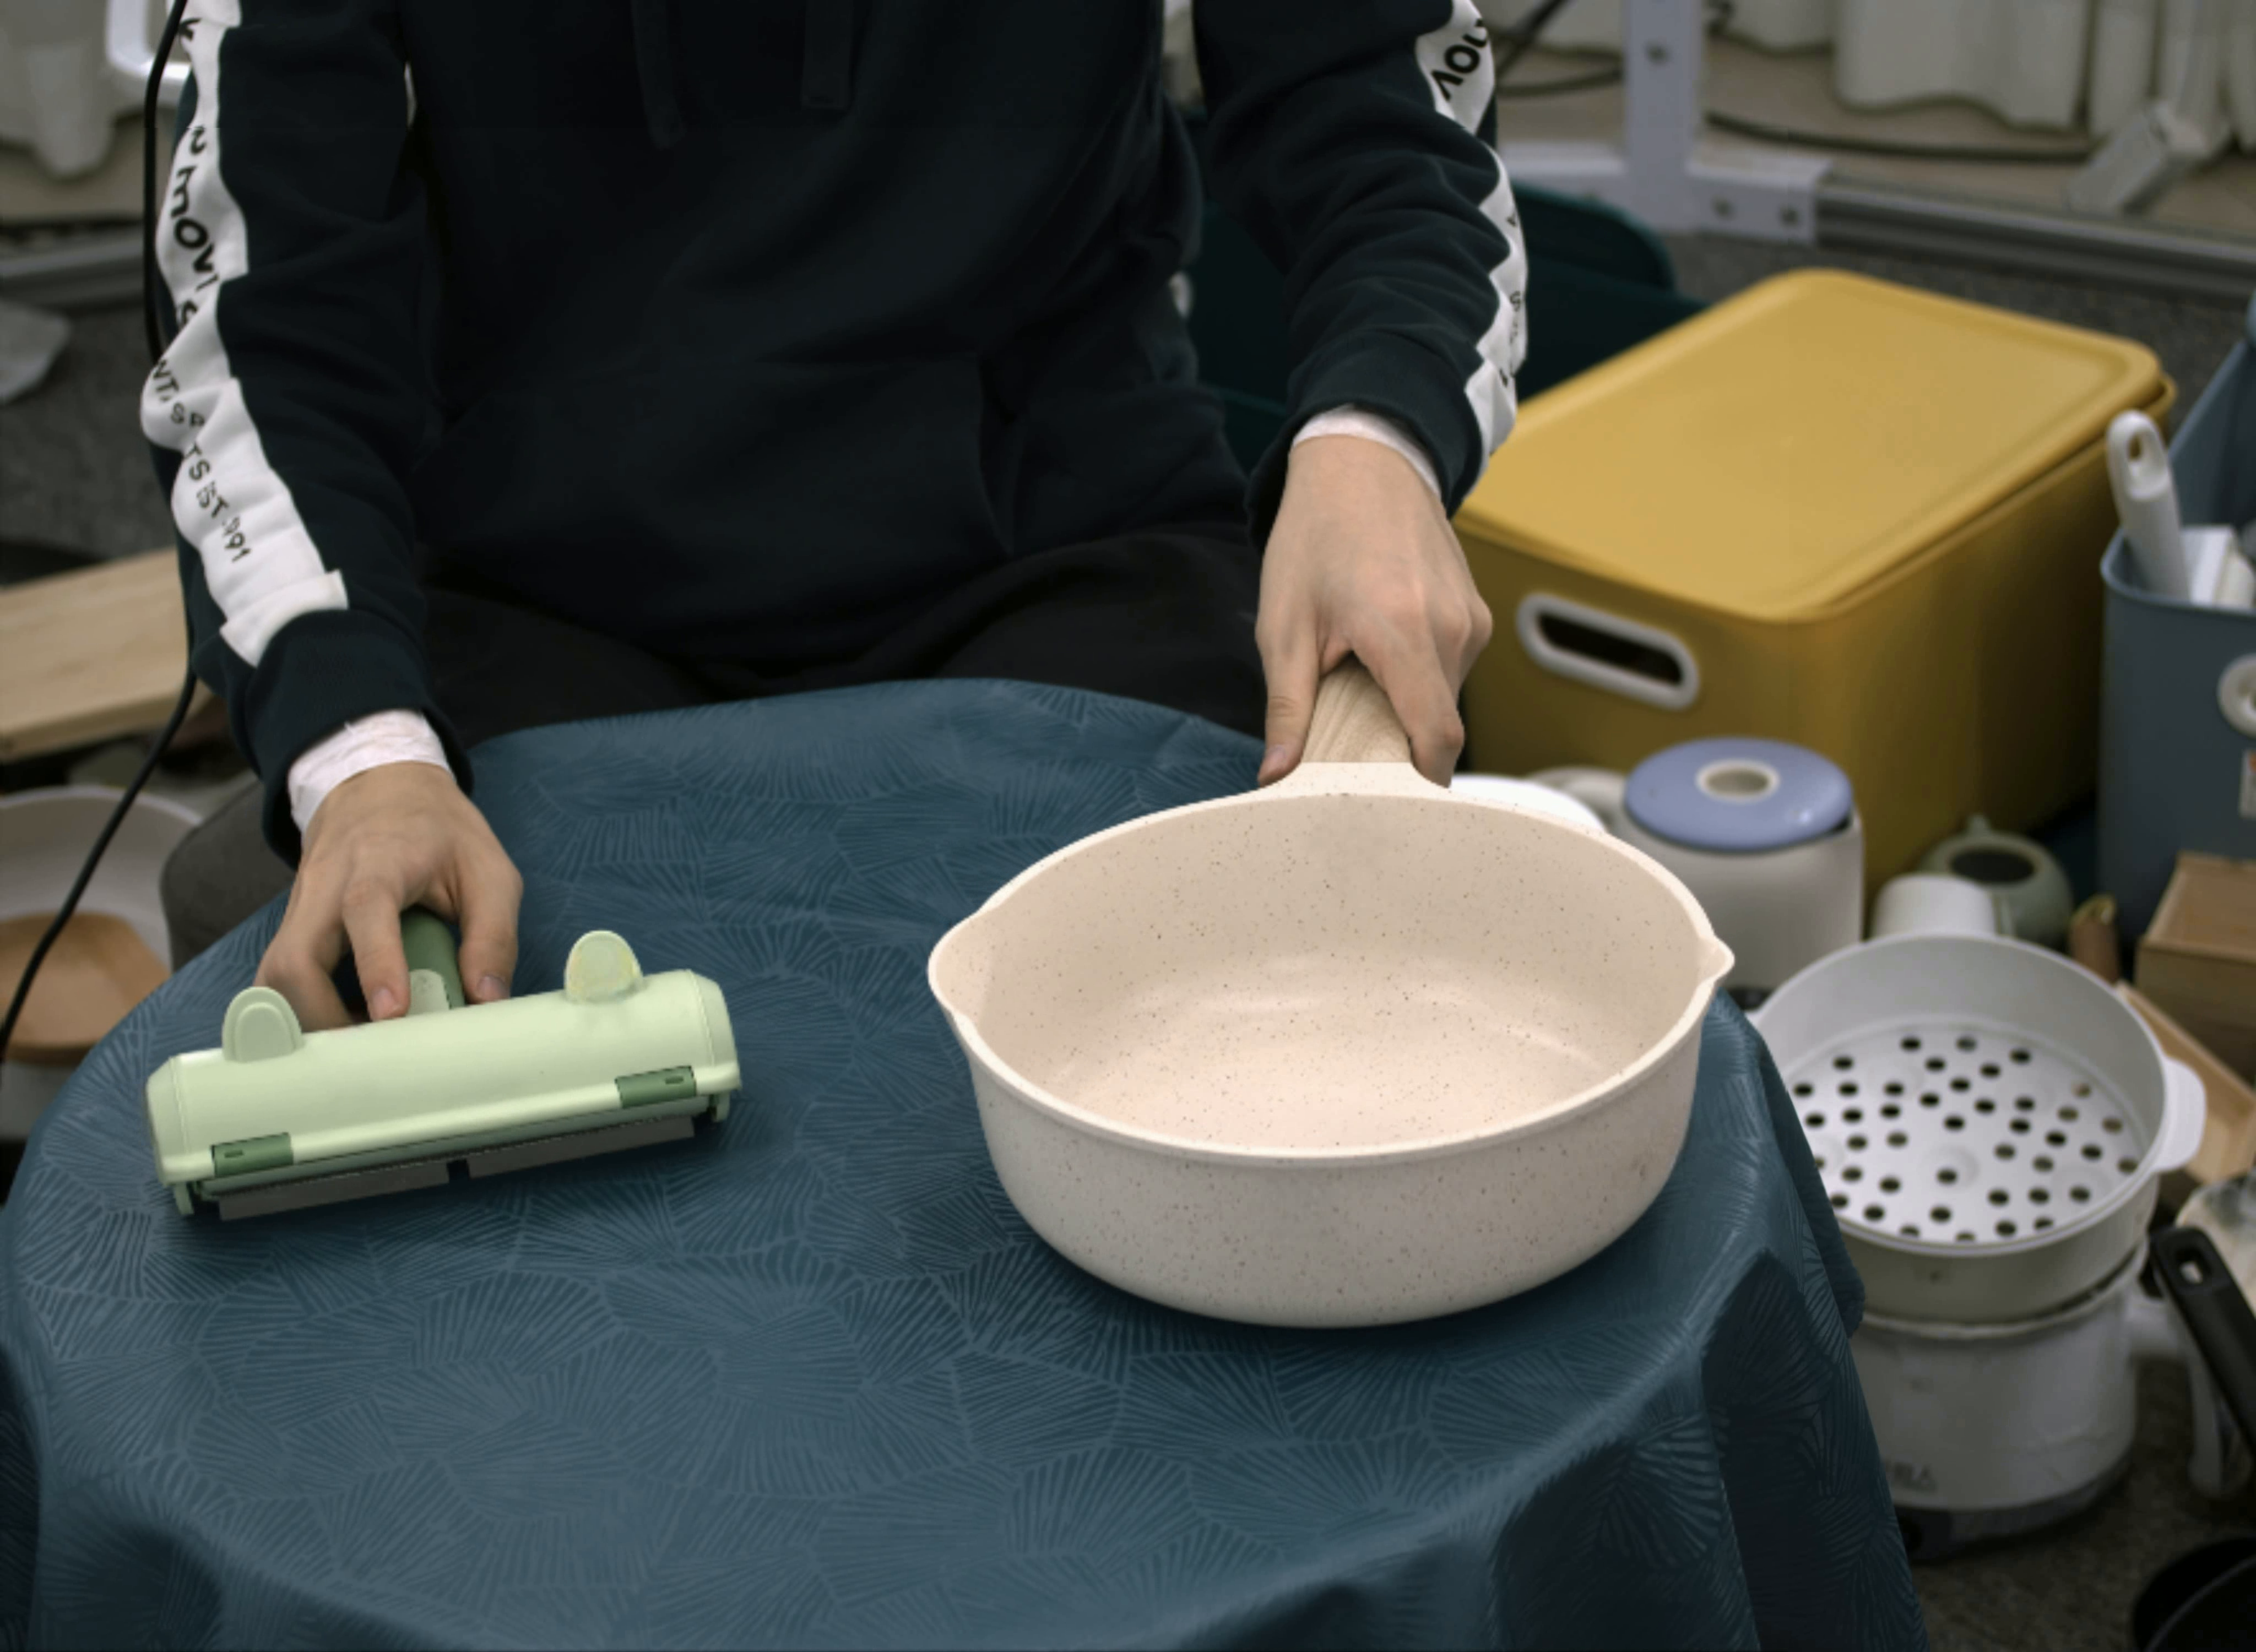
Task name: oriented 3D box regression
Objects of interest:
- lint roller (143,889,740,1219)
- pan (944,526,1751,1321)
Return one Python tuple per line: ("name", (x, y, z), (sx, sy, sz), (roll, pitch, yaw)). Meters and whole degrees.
("lint roller", (-0.244, 0.054, 1.928), (0.198, 0.081, 0.186), (-9, 36, -12))
("pan", (0.080, 0.030, 1.922), (0.262, 0.101, 0.441), (-2, 26, 6))
